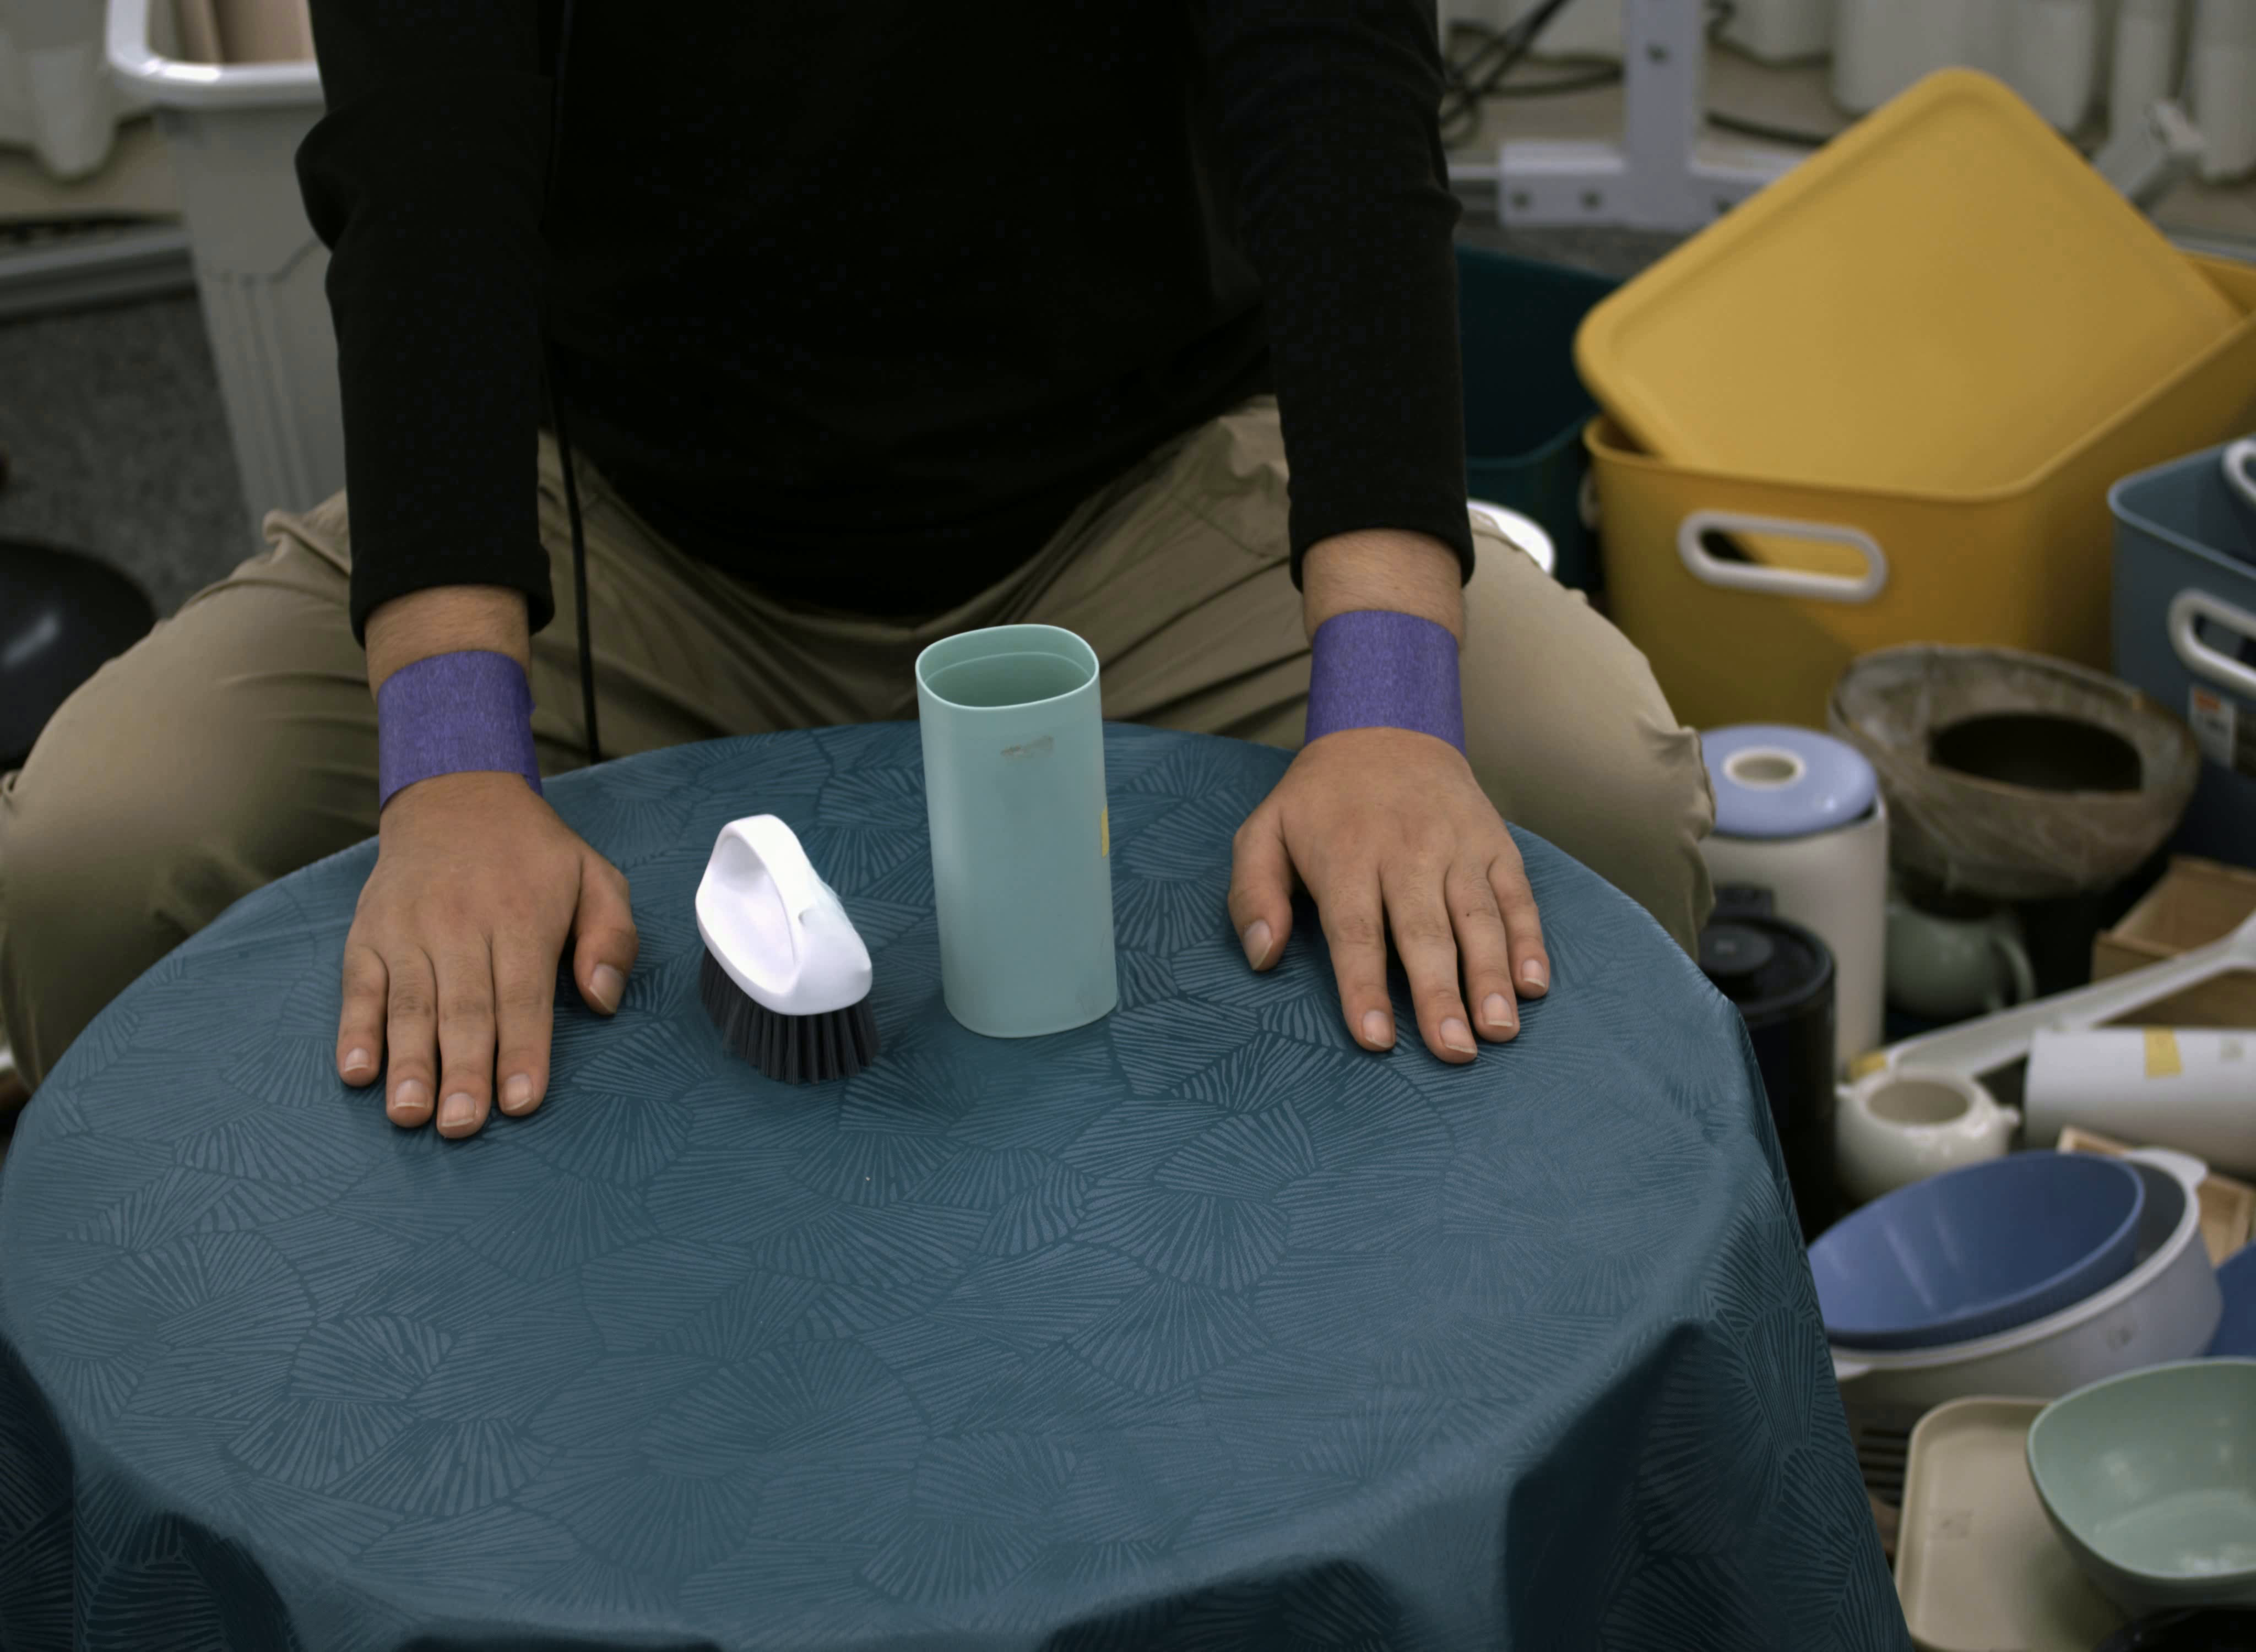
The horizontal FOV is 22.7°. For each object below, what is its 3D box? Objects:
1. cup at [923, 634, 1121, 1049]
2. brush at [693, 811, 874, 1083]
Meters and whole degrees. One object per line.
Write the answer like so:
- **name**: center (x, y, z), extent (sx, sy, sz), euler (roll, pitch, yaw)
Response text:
- **cup**: center (-0.038, 0.006, 1.957), extent (0.066, 0.131, 0.068), euler (-3, 27, 2)
- **brush**: center (-0.122, 0.036, 1.960), extent (0.050, 0.072, 0.100), euler (-11, 29, -18)
